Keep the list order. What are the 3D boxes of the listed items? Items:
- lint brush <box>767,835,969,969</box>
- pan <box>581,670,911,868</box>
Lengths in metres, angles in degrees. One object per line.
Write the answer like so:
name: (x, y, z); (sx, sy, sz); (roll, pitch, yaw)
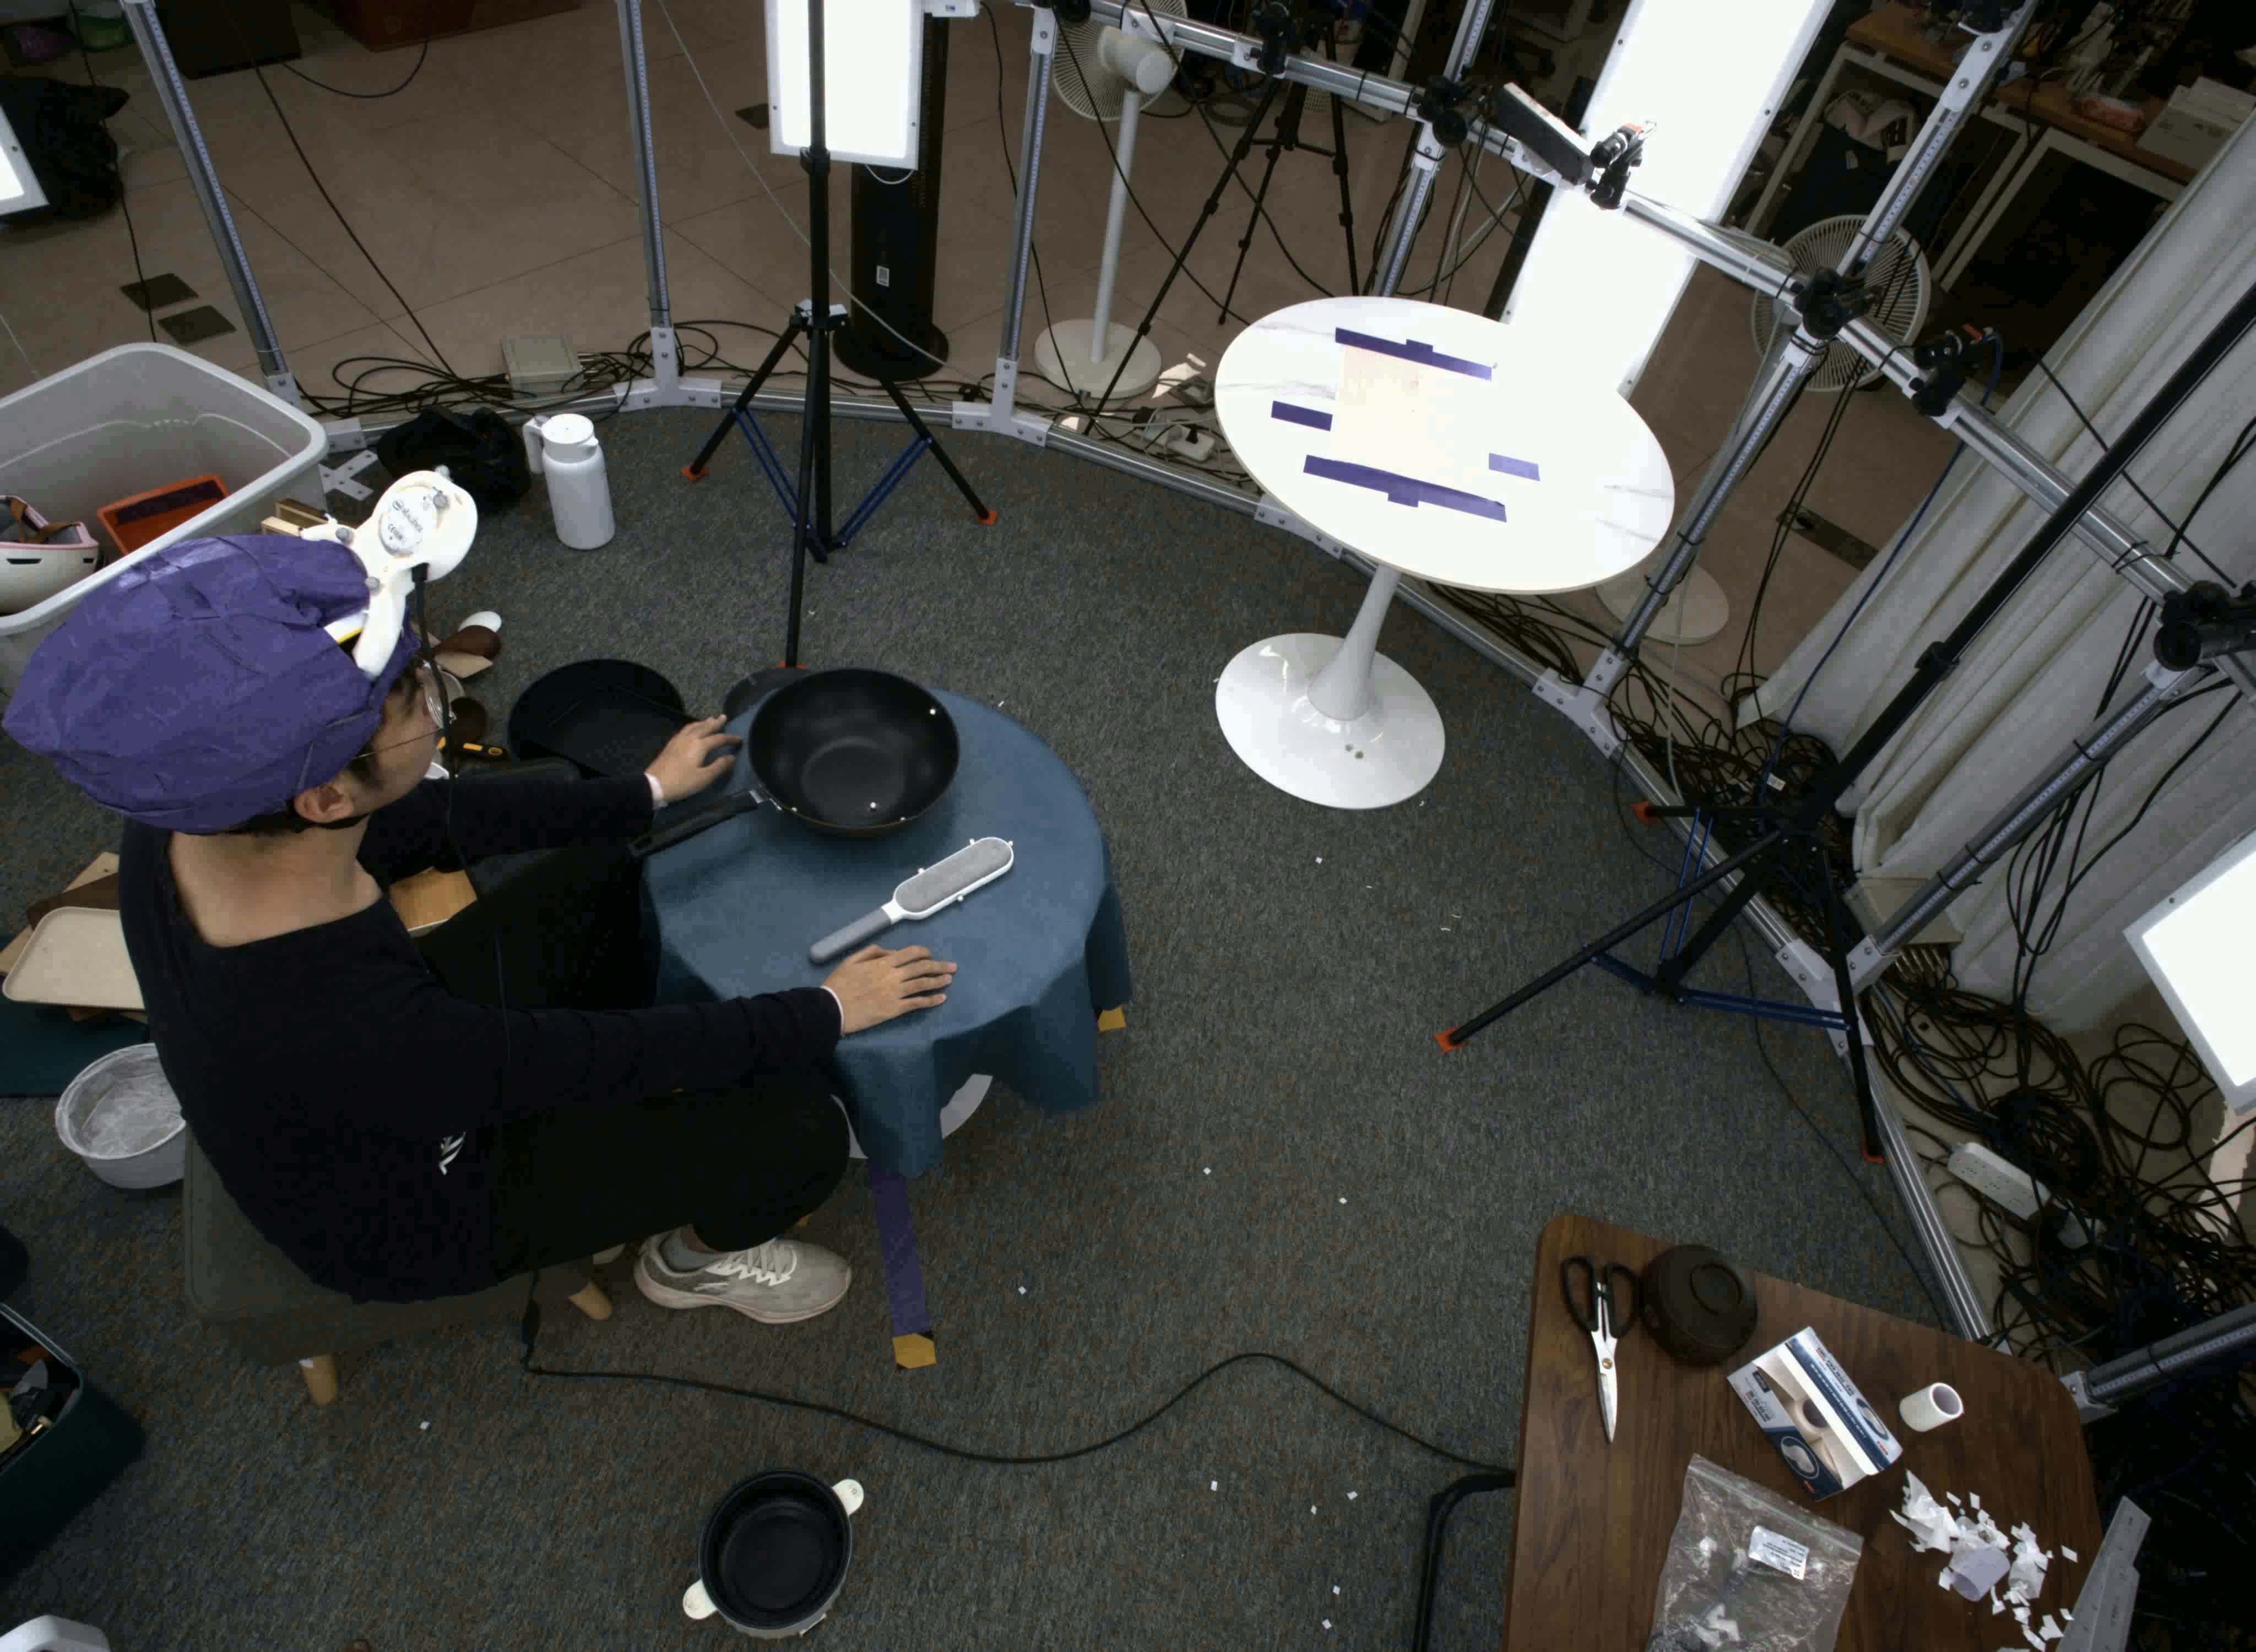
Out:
lint brush: (-0.331, 0.094, 1.670); (0.310, 0.021, 0.059); (-33, 73, -32)
pan: (-0.498, -0.038, 1.691); (0.465, 0.088, 0.281); (-33, 67, -31)
